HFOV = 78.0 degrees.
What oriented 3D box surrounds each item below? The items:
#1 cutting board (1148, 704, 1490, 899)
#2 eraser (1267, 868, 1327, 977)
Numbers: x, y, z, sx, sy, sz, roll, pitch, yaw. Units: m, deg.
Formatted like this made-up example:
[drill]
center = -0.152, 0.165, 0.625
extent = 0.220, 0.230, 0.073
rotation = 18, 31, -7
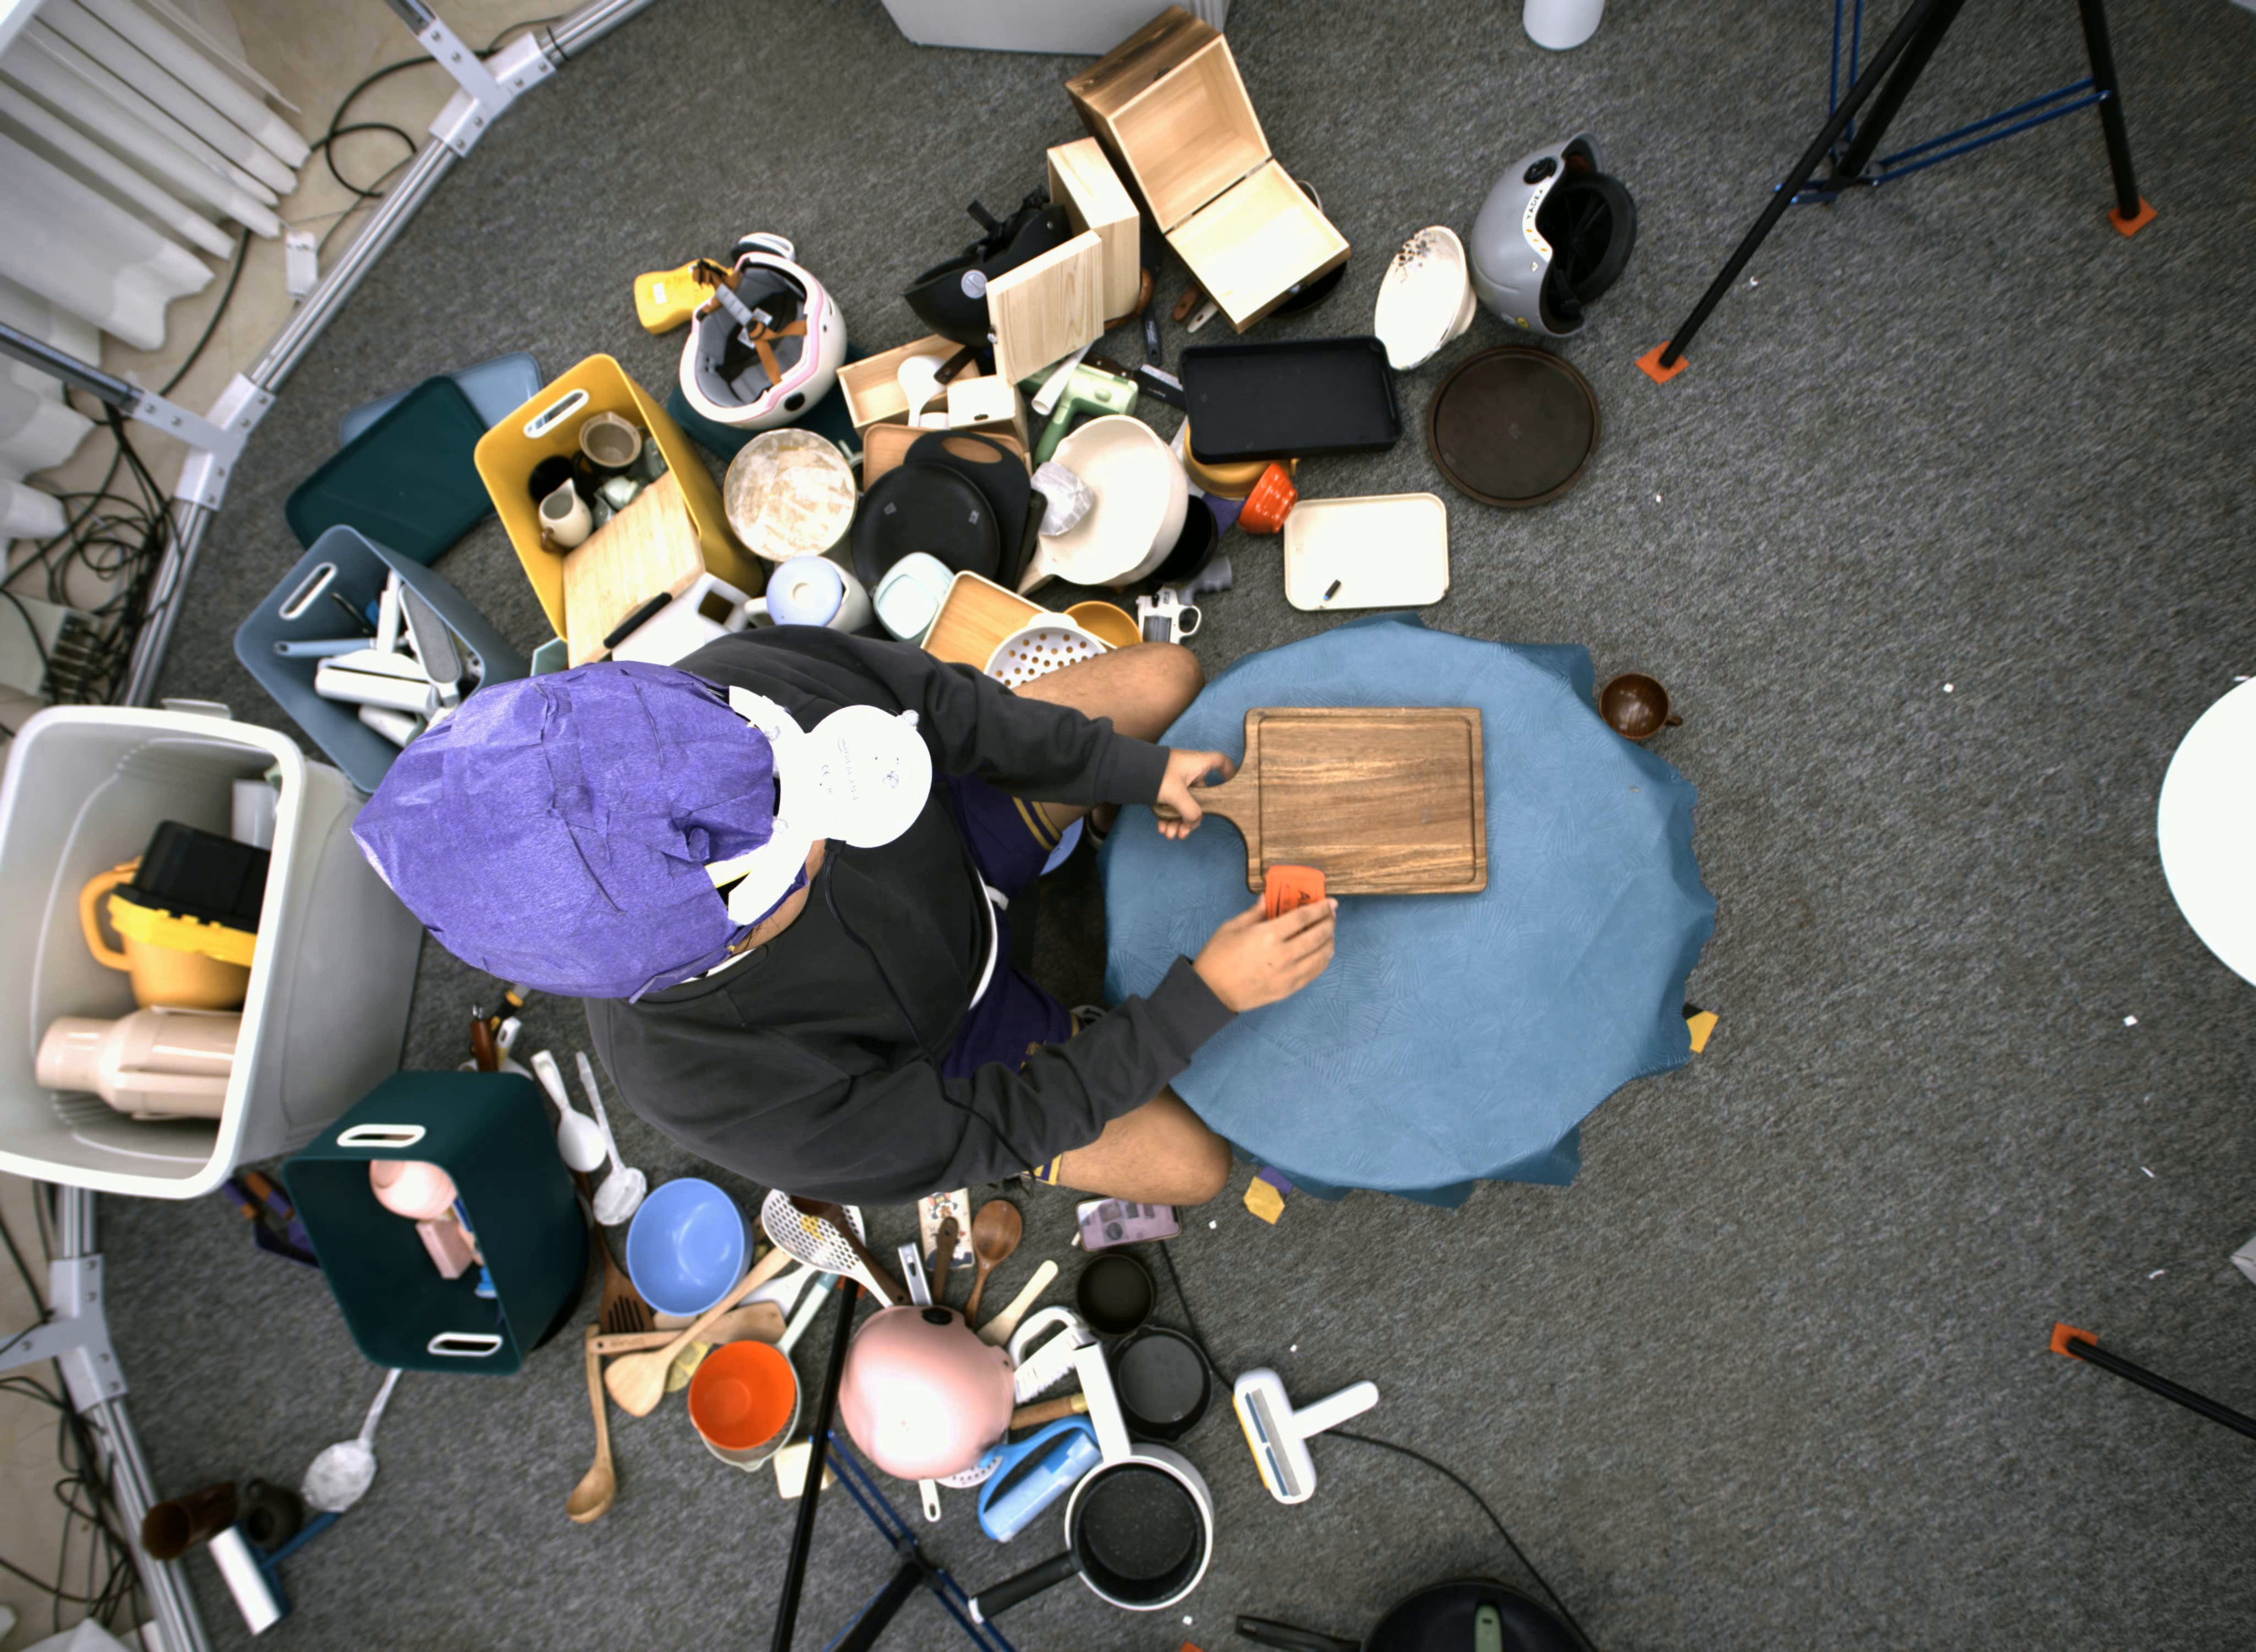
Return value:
[cutting board]
center = 0.197, -0.027, 1.434
extent = 0.352, 0.023, 0.200
rotation = -1, 87, -1
[eraser]
center = 0.168, 0.096, 1.374
extent = 0.059, 0.022, 0.110
rotation = 4, 114, 15
